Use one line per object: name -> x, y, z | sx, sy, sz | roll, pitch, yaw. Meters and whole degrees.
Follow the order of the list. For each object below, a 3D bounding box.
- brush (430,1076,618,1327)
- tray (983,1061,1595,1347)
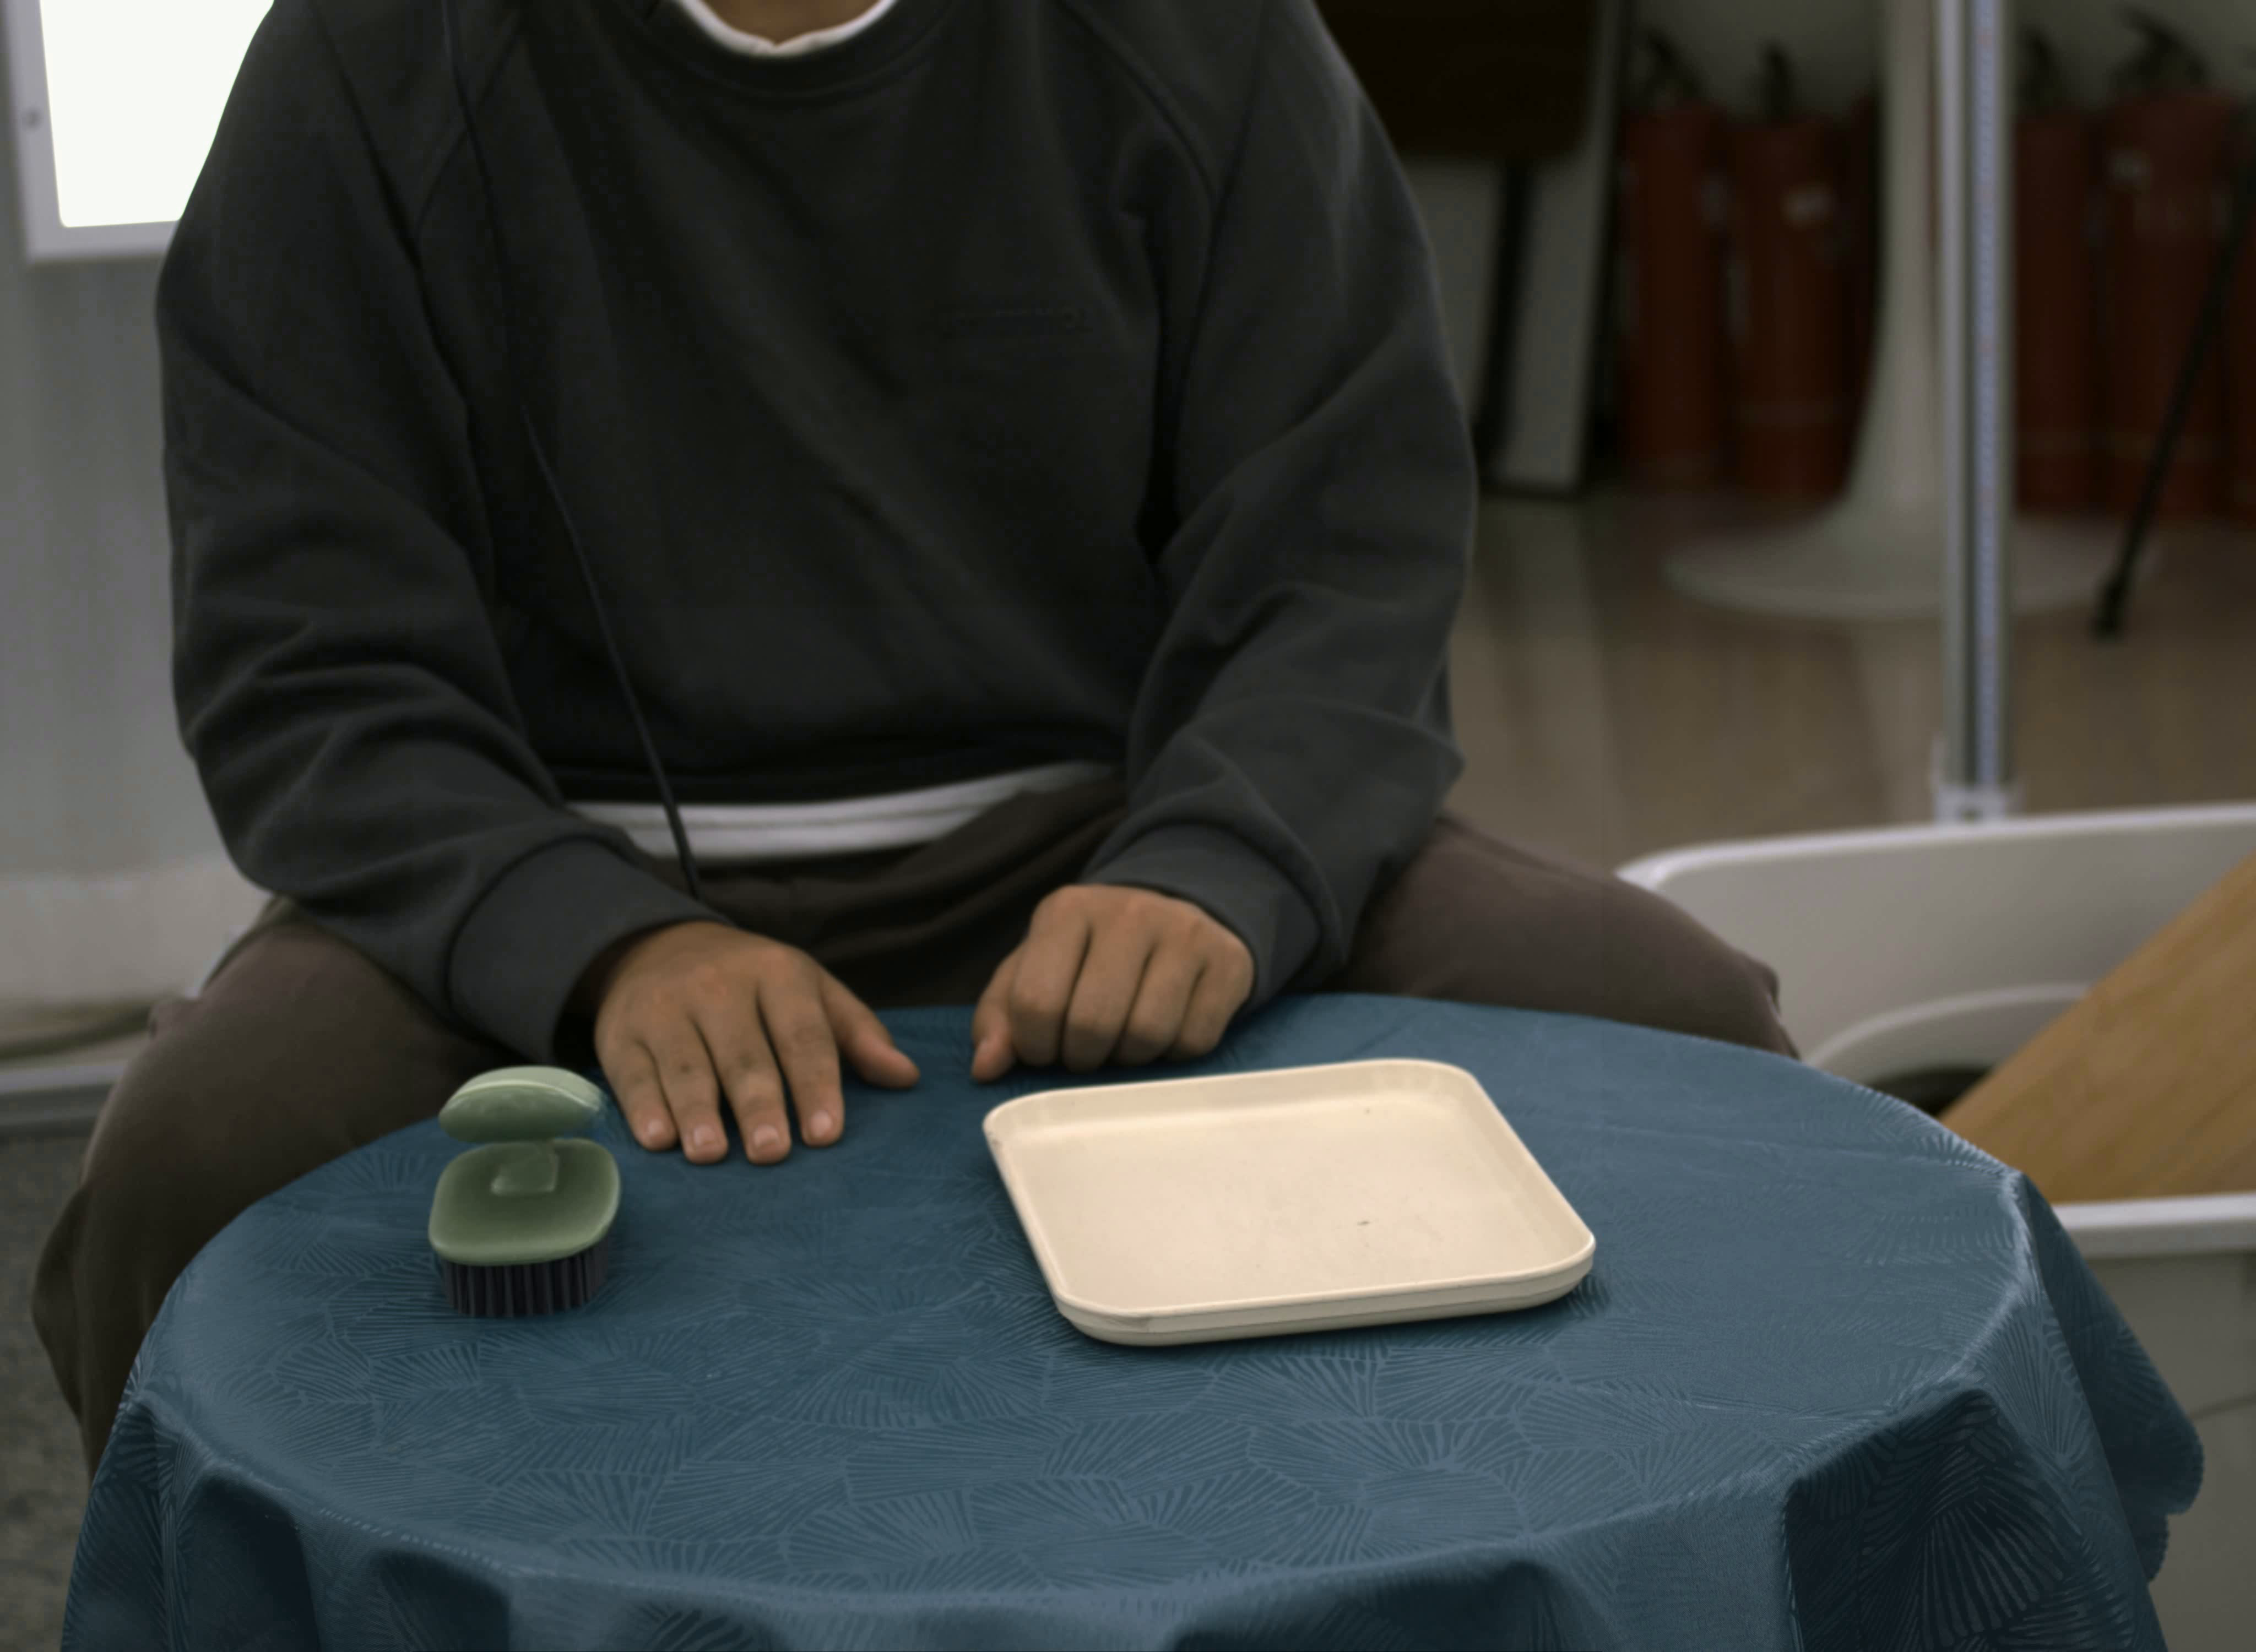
brush -> -0.193, 0.118, 1.733 | 0.059, 0.077, 0.123 | -4, 0, -3
tray -> 0.048, 0.120, 1.727 | 0.168, 0.017, 0.241 | -5, 14, -7
